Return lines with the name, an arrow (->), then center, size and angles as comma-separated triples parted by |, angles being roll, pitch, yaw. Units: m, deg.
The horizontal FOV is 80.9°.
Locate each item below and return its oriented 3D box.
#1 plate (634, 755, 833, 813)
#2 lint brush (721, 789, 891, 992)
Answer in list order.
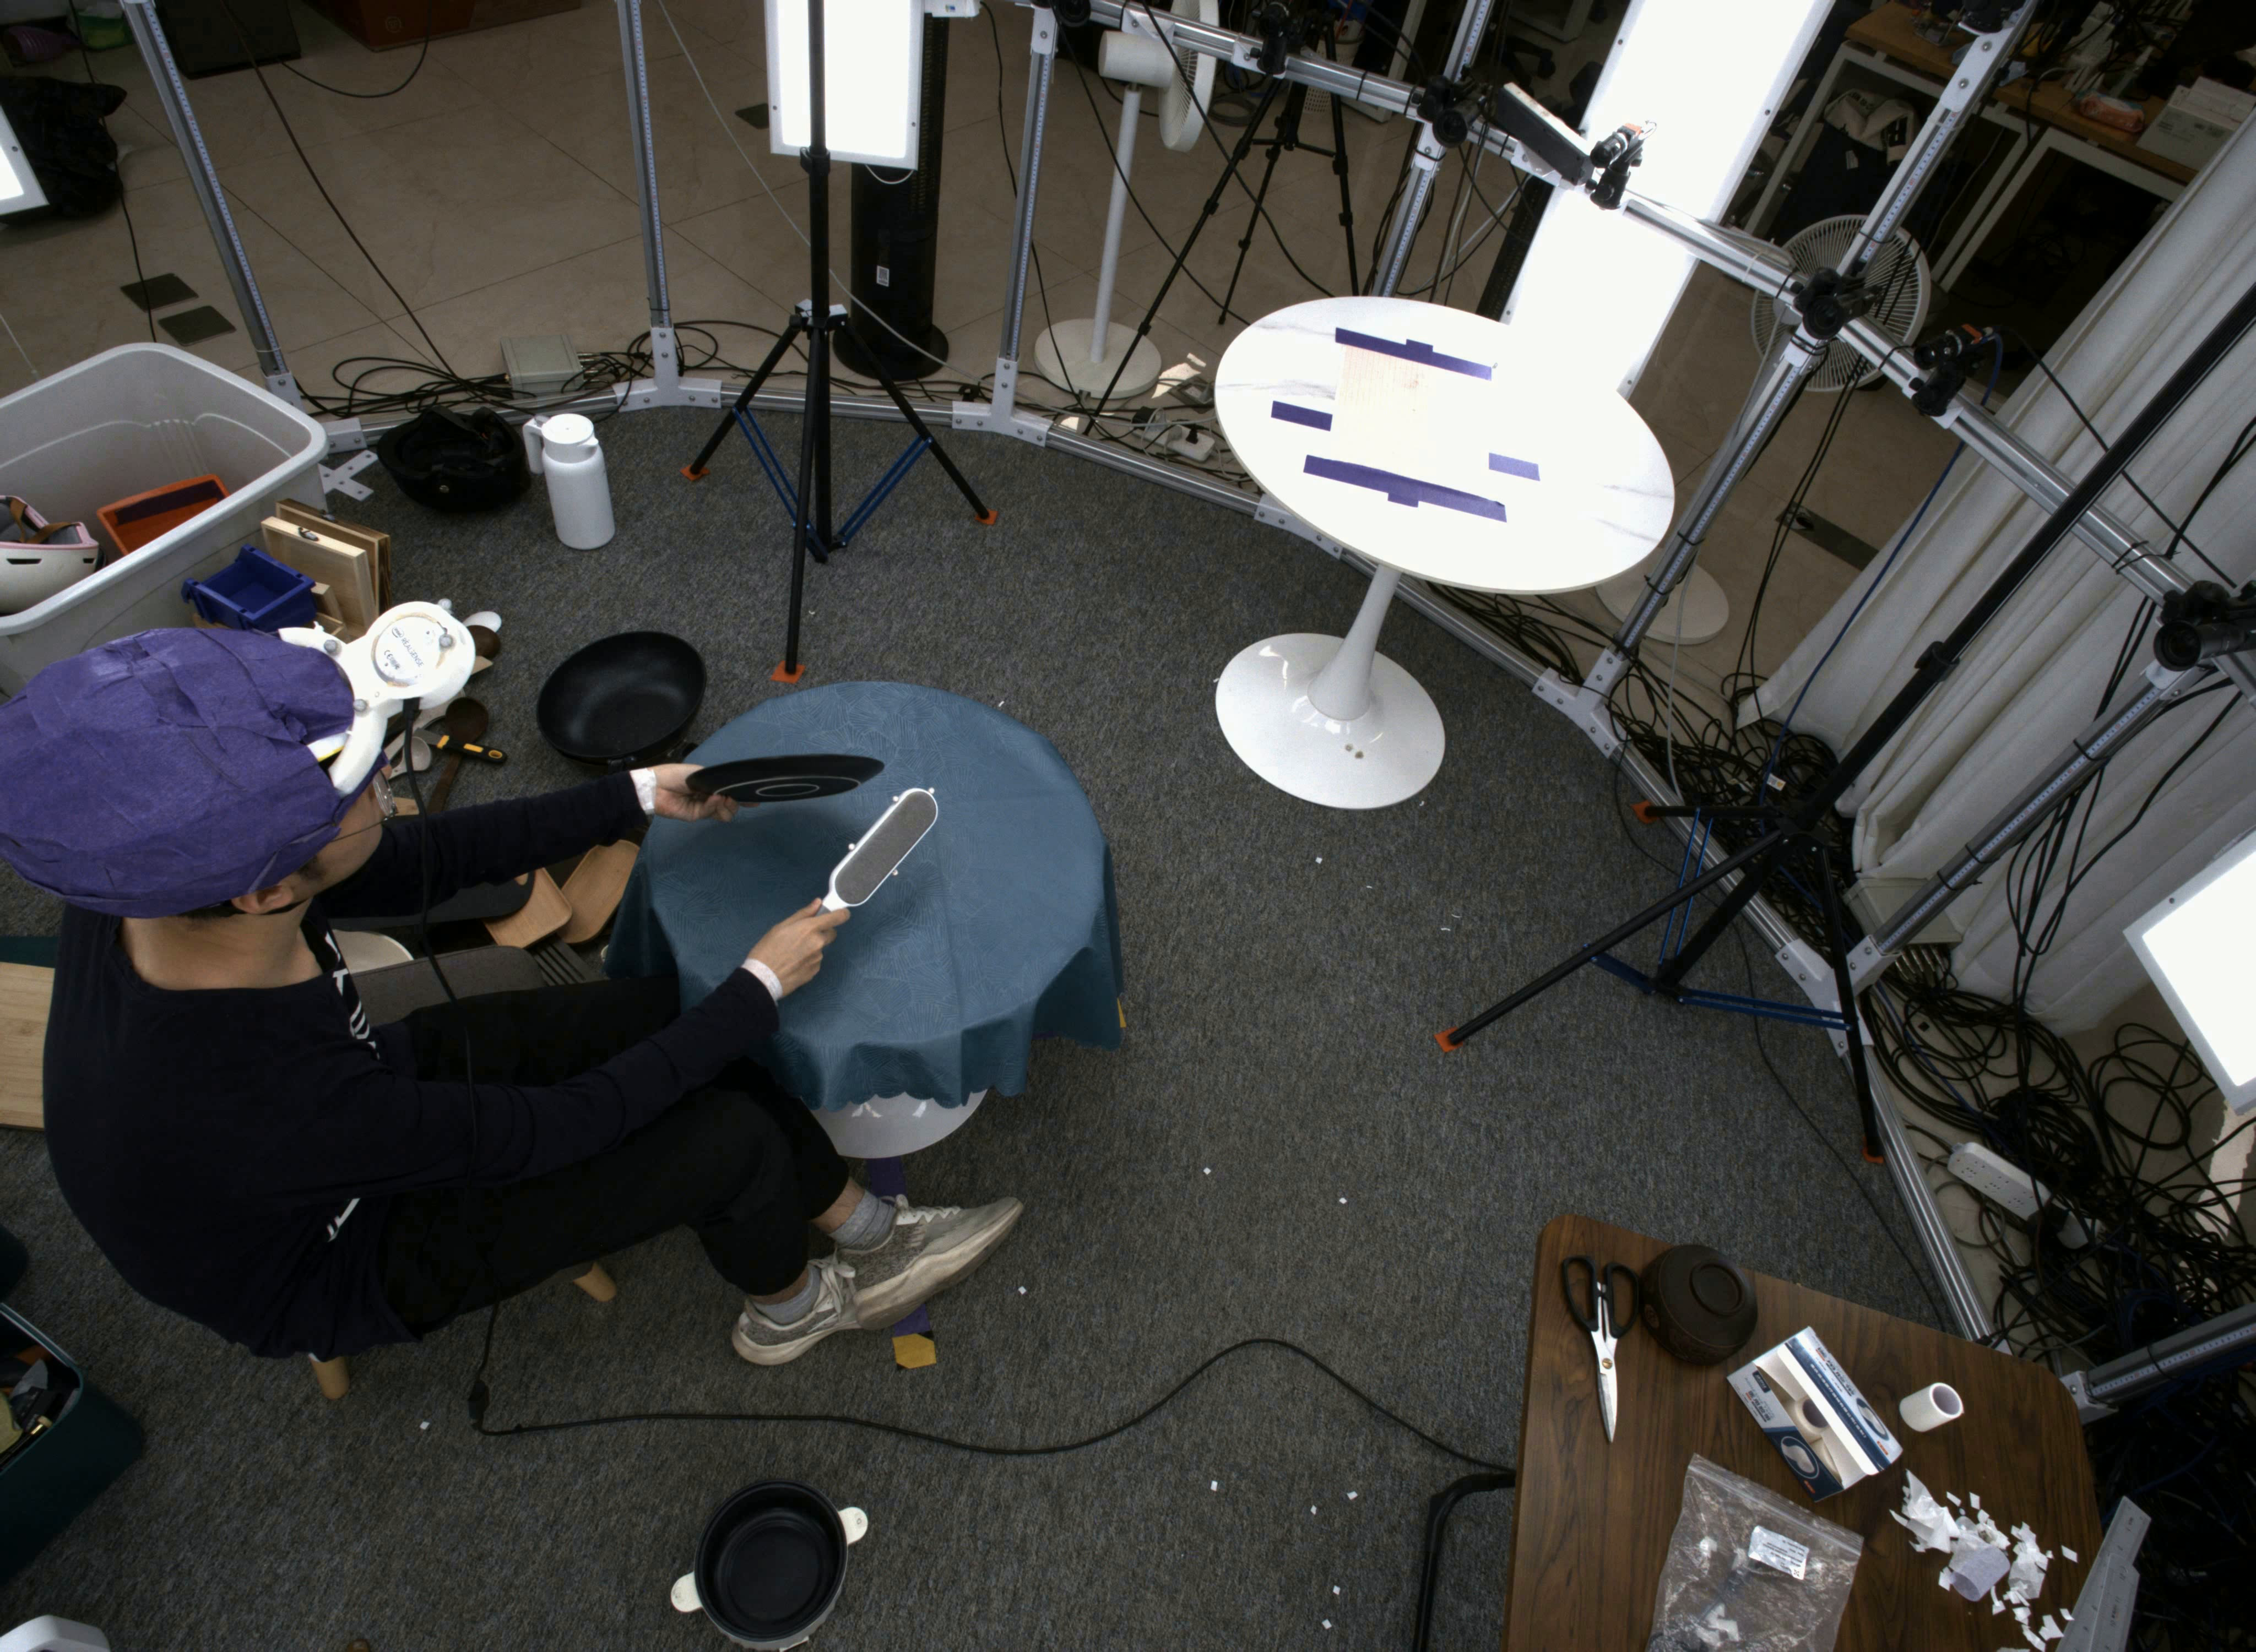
plate -> -0.483, -0.048, 1.590 | 0.245, 0.242, 0.023 | -8, 83, -18
lint brush -> -0.392, 0.074, 1.581 | 0.020, 0.062, 0.308 | 6, 53, 48
